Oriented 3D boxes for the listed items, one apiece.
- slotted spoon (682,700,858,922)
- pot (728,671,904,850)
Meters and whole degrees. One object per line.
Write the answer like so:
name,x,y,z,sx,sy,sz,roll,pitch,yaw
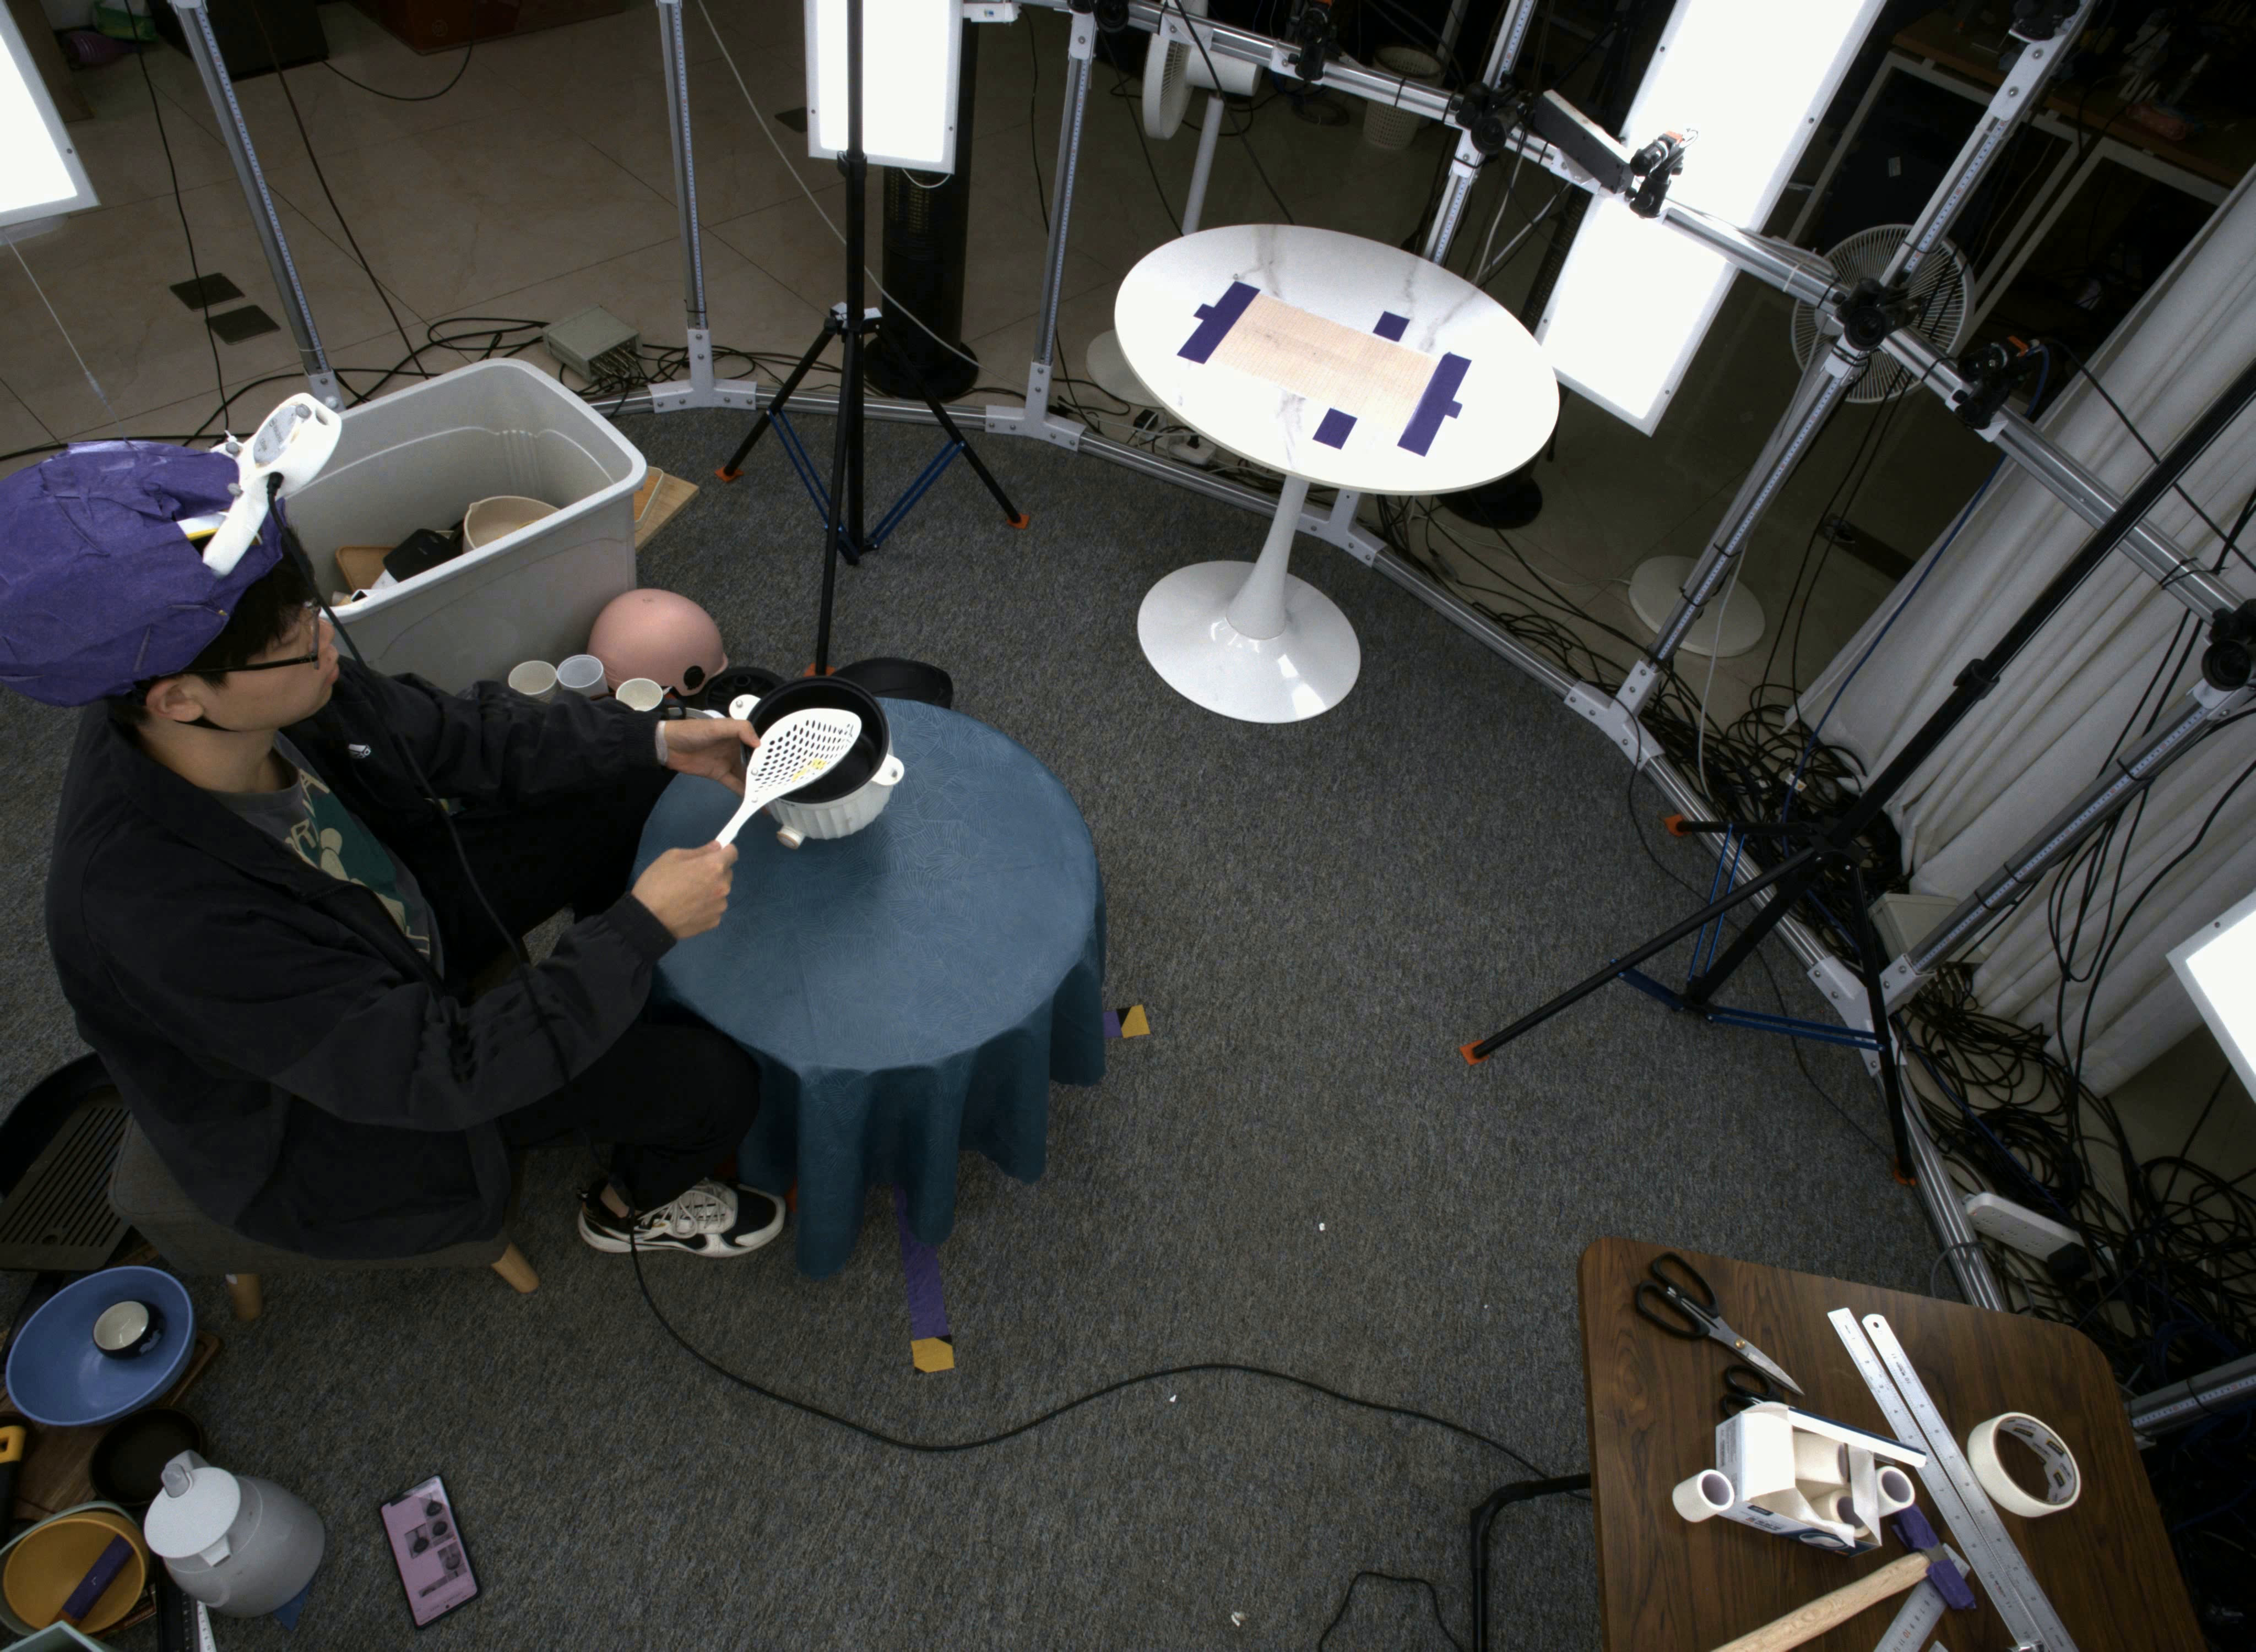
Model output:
slotted spoon,-0.429,-0.027,1.501,0.133,0.052,0.345,8,43,22
pot,-0.387,-0.075,1.634,0.236,0.146,0.189,22,61,7
